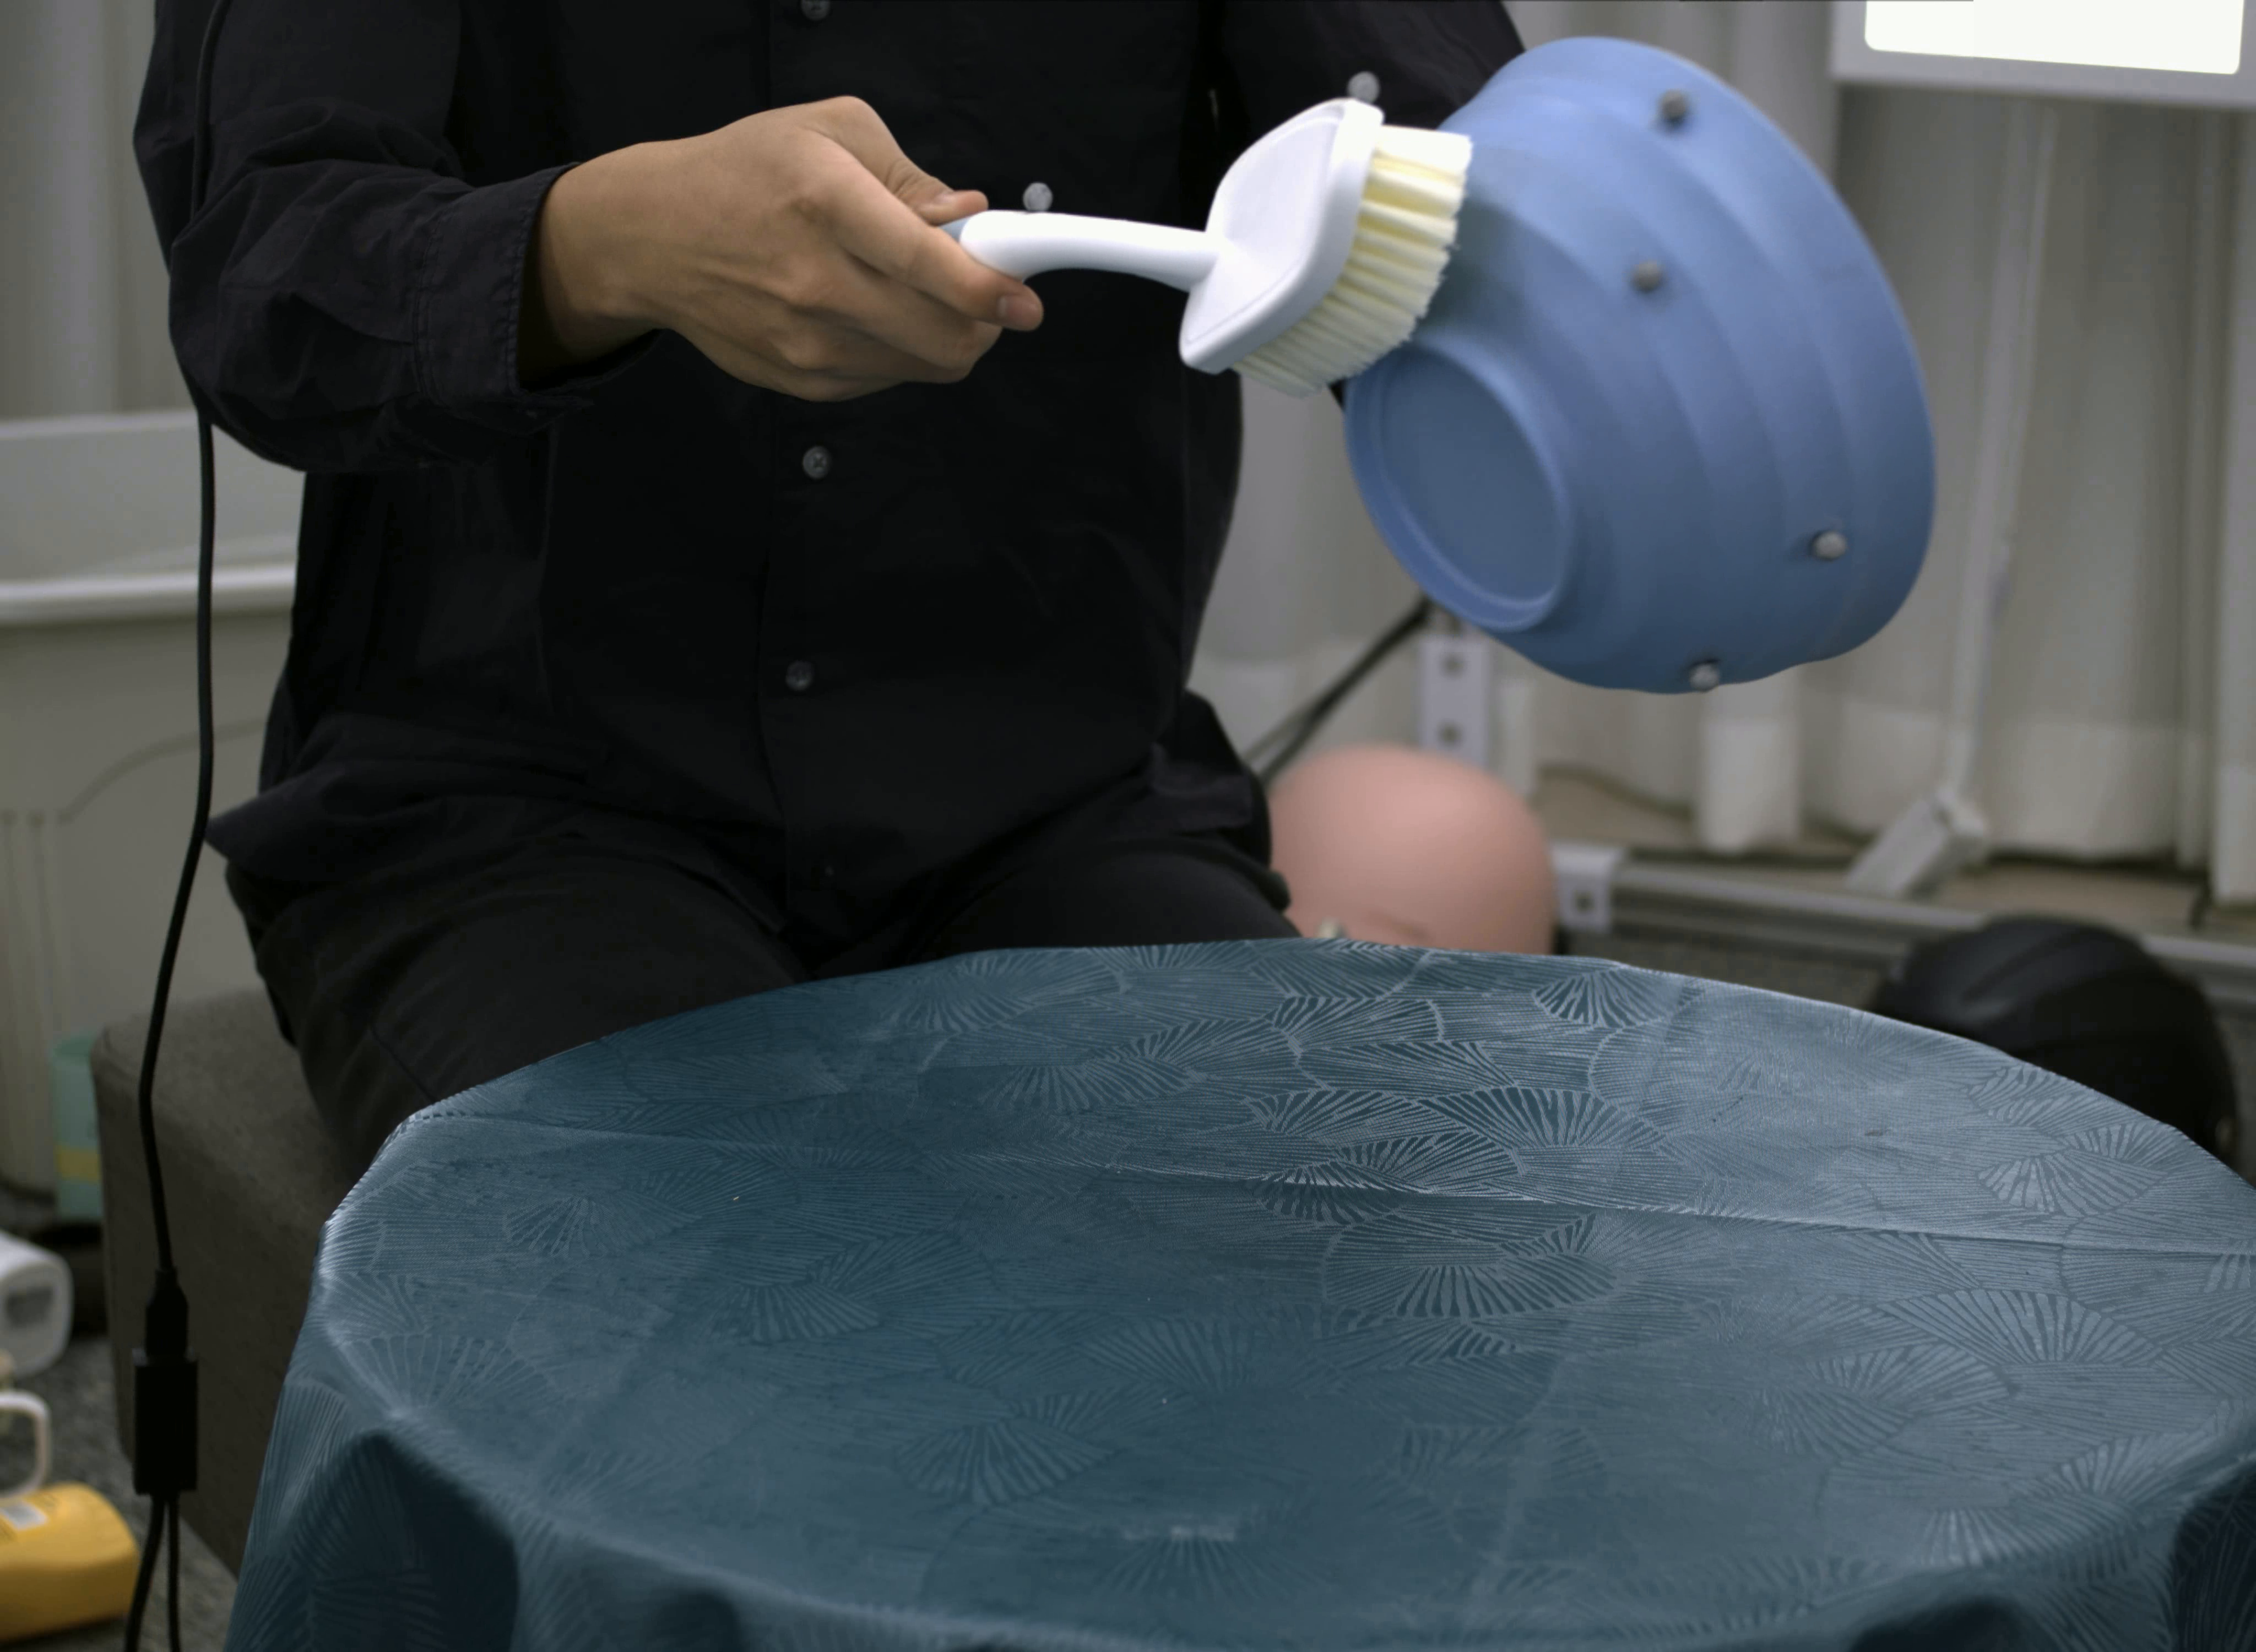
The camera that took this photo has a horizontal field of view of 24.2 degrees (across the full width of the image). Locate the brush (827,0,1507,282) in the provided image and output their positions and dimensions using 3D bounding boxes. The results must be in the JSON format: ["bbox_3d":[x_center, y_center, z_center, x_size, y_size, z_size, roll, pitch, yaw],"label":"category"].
[{"bbox_3d":[0.022,-0.197,1.580,0.083,0.085,0.322,-42,18,-27],"label":"brush"}]

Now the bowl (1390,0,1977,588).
[{"bbox_3d":[0.141,-0.148,1.524,0.095,0.199,0.194,-31,31,-28],"label":"bowl"}]
